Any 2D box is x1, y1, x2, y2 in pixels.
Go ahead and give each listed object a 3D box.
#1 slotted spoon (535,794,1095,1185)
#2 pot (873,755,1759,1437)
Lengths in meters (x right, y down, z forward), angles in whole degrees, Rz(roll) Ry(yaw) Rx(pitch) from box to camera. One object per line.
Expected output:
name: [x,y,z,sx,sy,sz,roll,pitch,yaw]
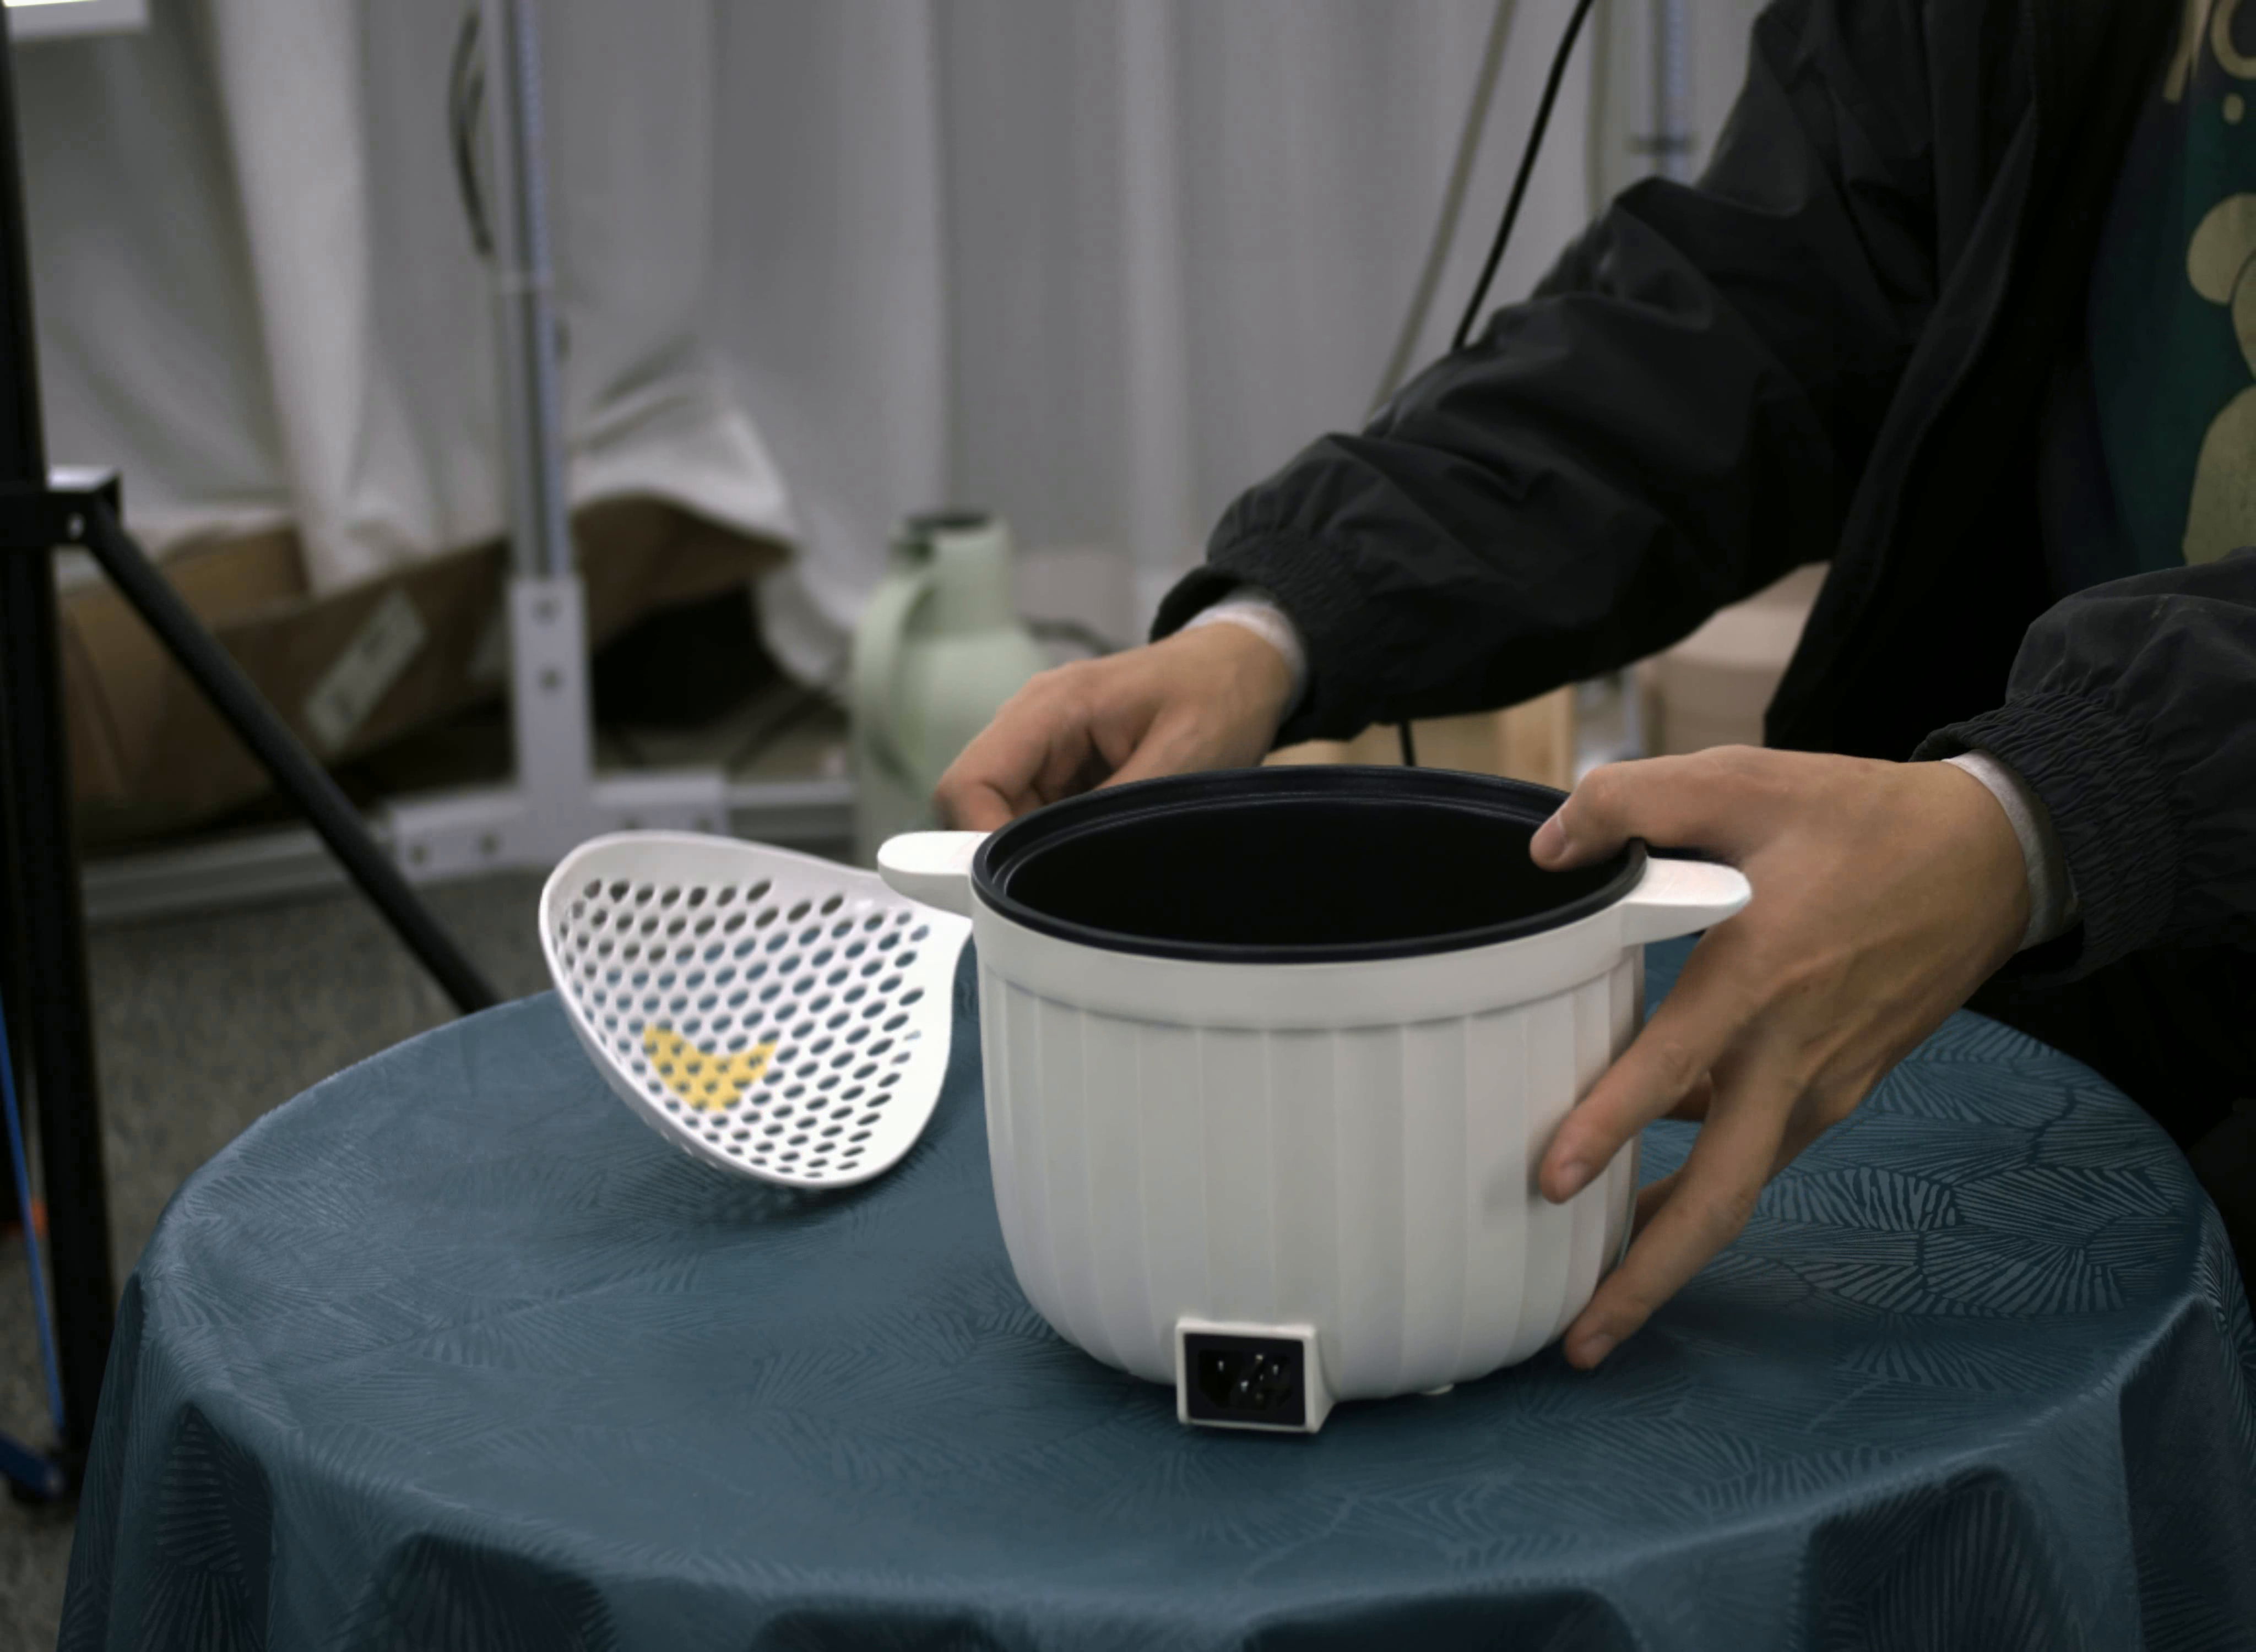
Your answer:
slotted spoon: [-0.073,0.035,1.688,0.138,0.050,0.342,42,33,11]
pot: [0.050,0.069,1.436,0.242,0.142,0.189,3,19,15]
